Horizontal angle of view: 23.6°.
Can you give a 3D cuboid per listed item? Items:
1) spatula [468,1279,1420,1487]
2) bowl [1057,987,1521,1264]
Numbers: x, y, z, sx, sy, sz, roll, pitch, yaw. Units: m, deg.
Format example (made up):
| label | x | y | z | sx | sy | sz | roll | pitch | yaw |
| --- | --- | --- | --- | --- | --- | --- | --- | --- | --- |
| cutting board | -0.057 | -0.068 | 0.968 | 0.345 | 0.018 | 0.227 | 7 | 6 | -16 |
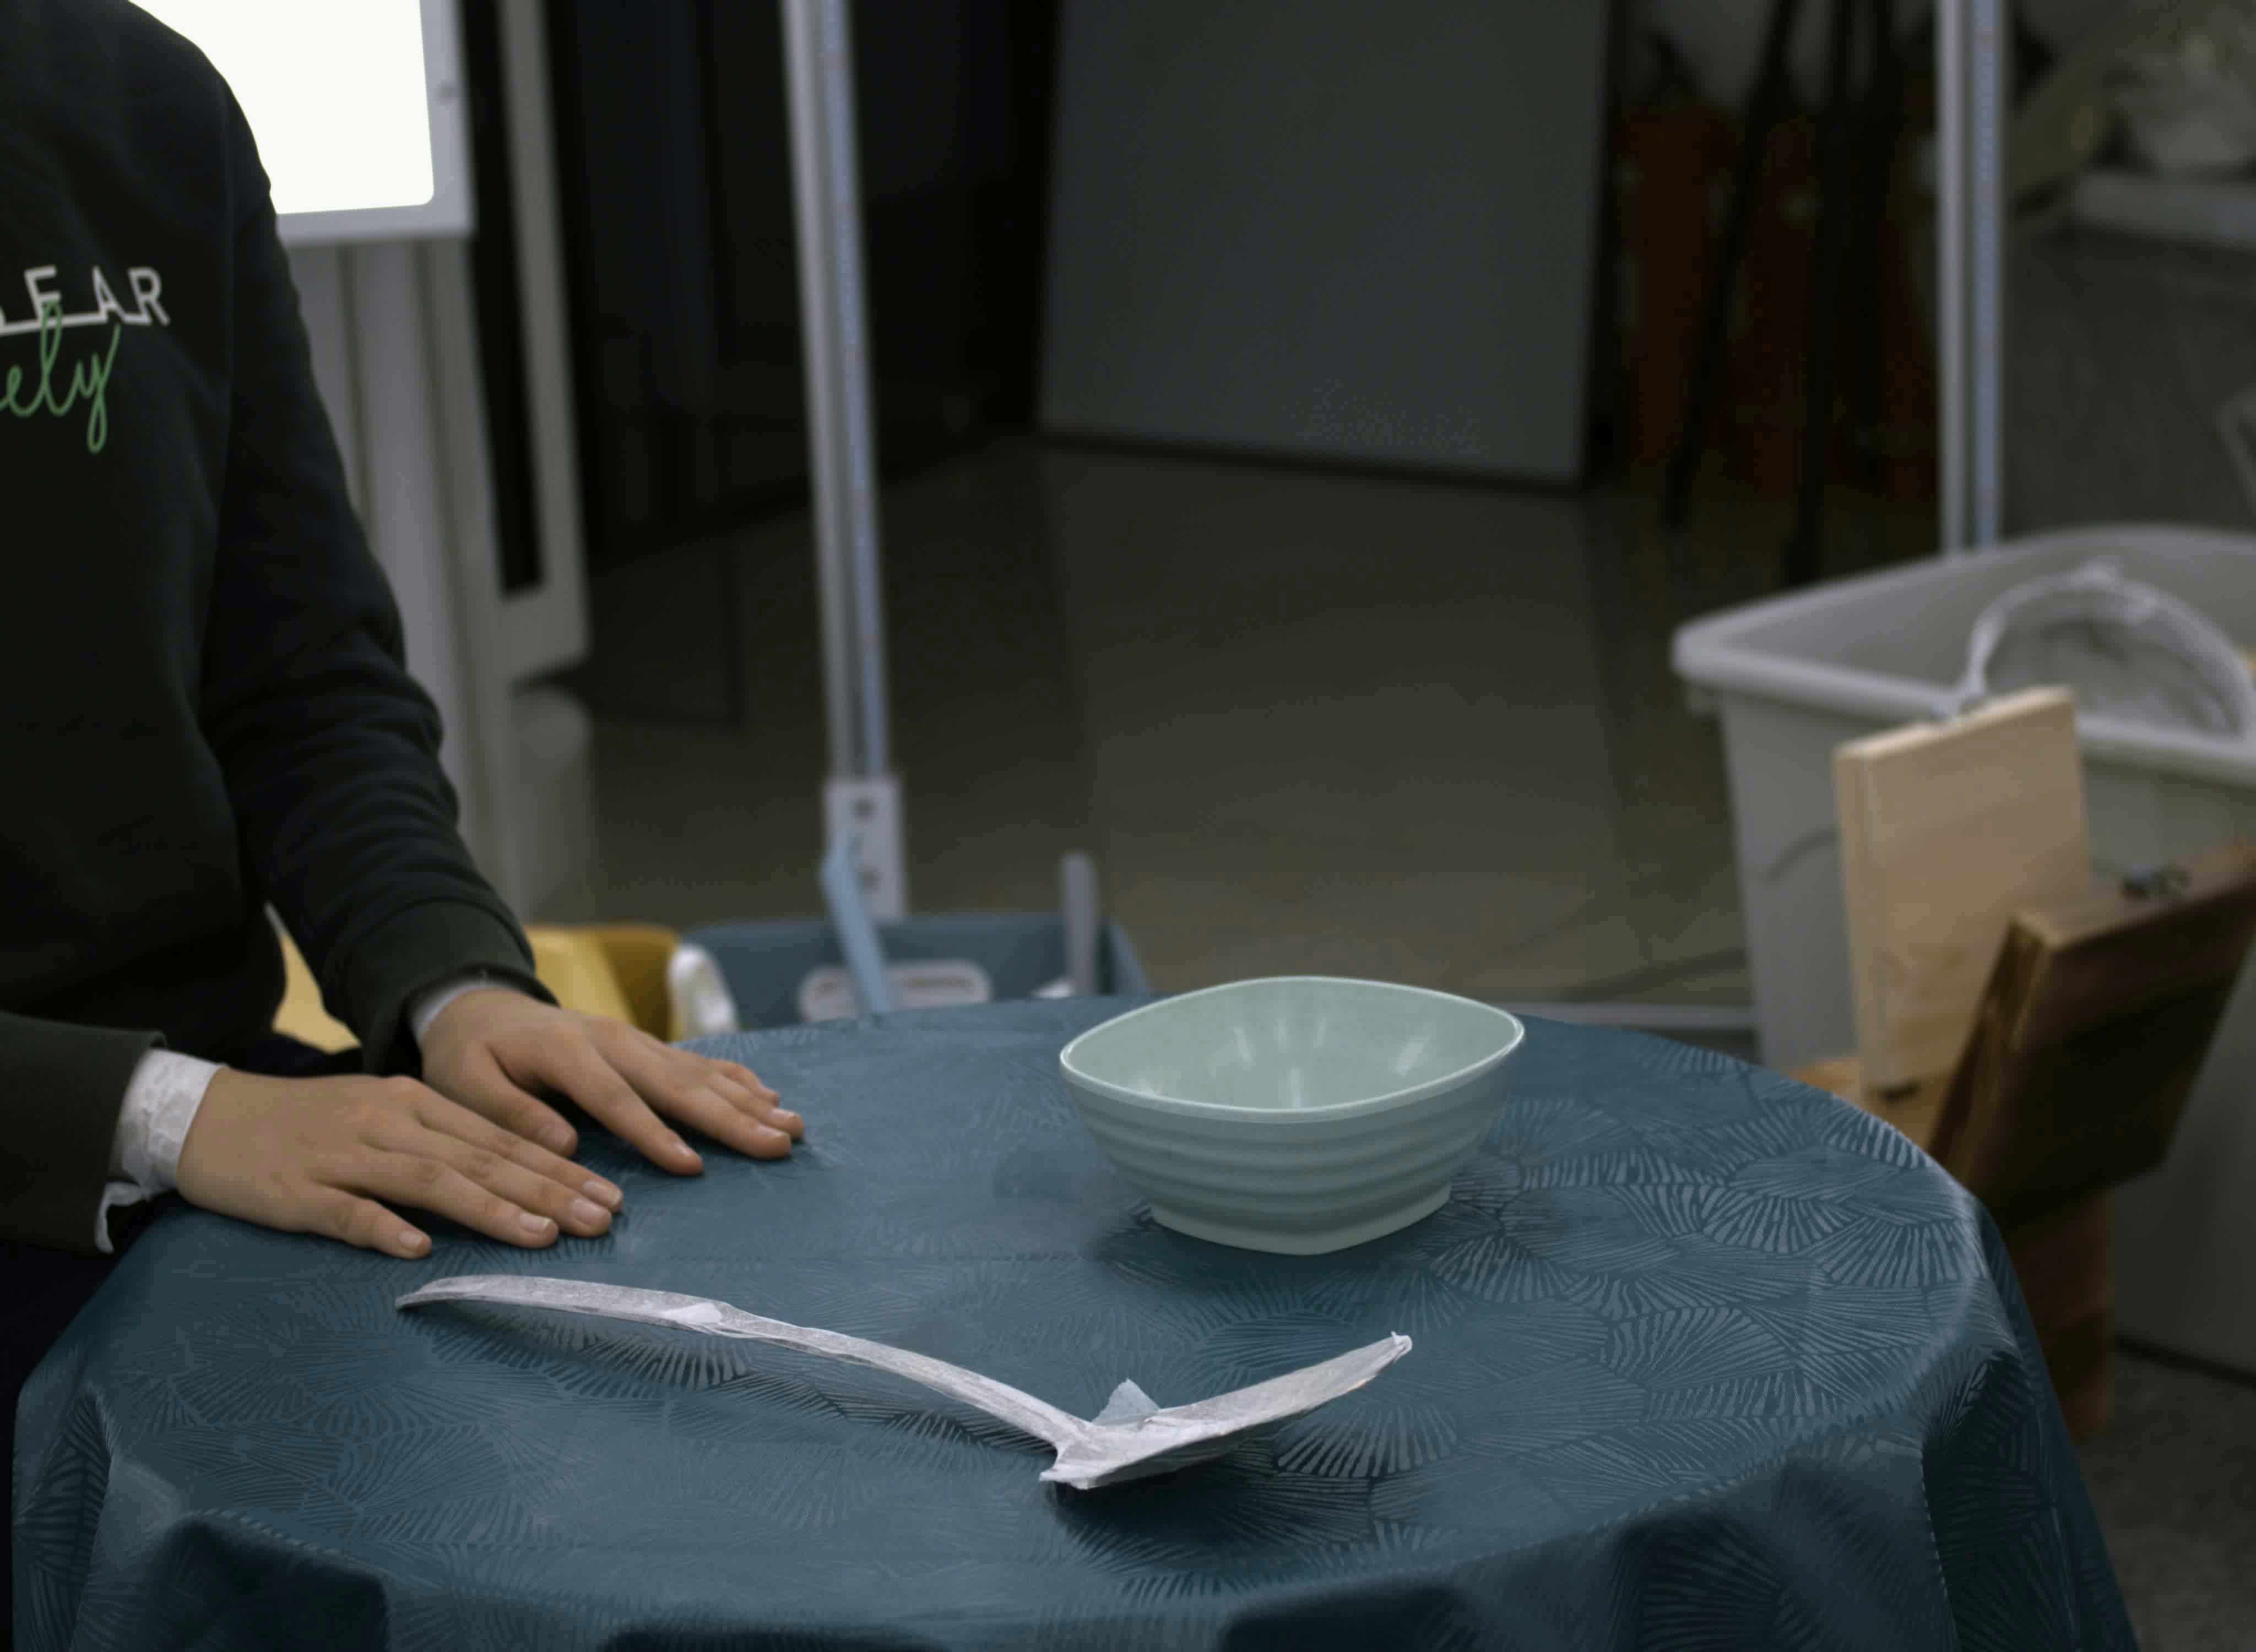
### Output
| label | x | y | z | sx | sy | sz | roll | pitch | yaw |
| --- | --- | --- | --- | --- | --- | --- | --- | --- | --- |
| spatula | -0.075 | 0.152 | 1.590 | 0.368 | 0.045 | 0.097 | 8 | 20 | 40 |
| bowl | 0.053 | 0.099 | 1.734 | 0.149 | 0.059 | 0.151 | -2 | 13 | 0 |
